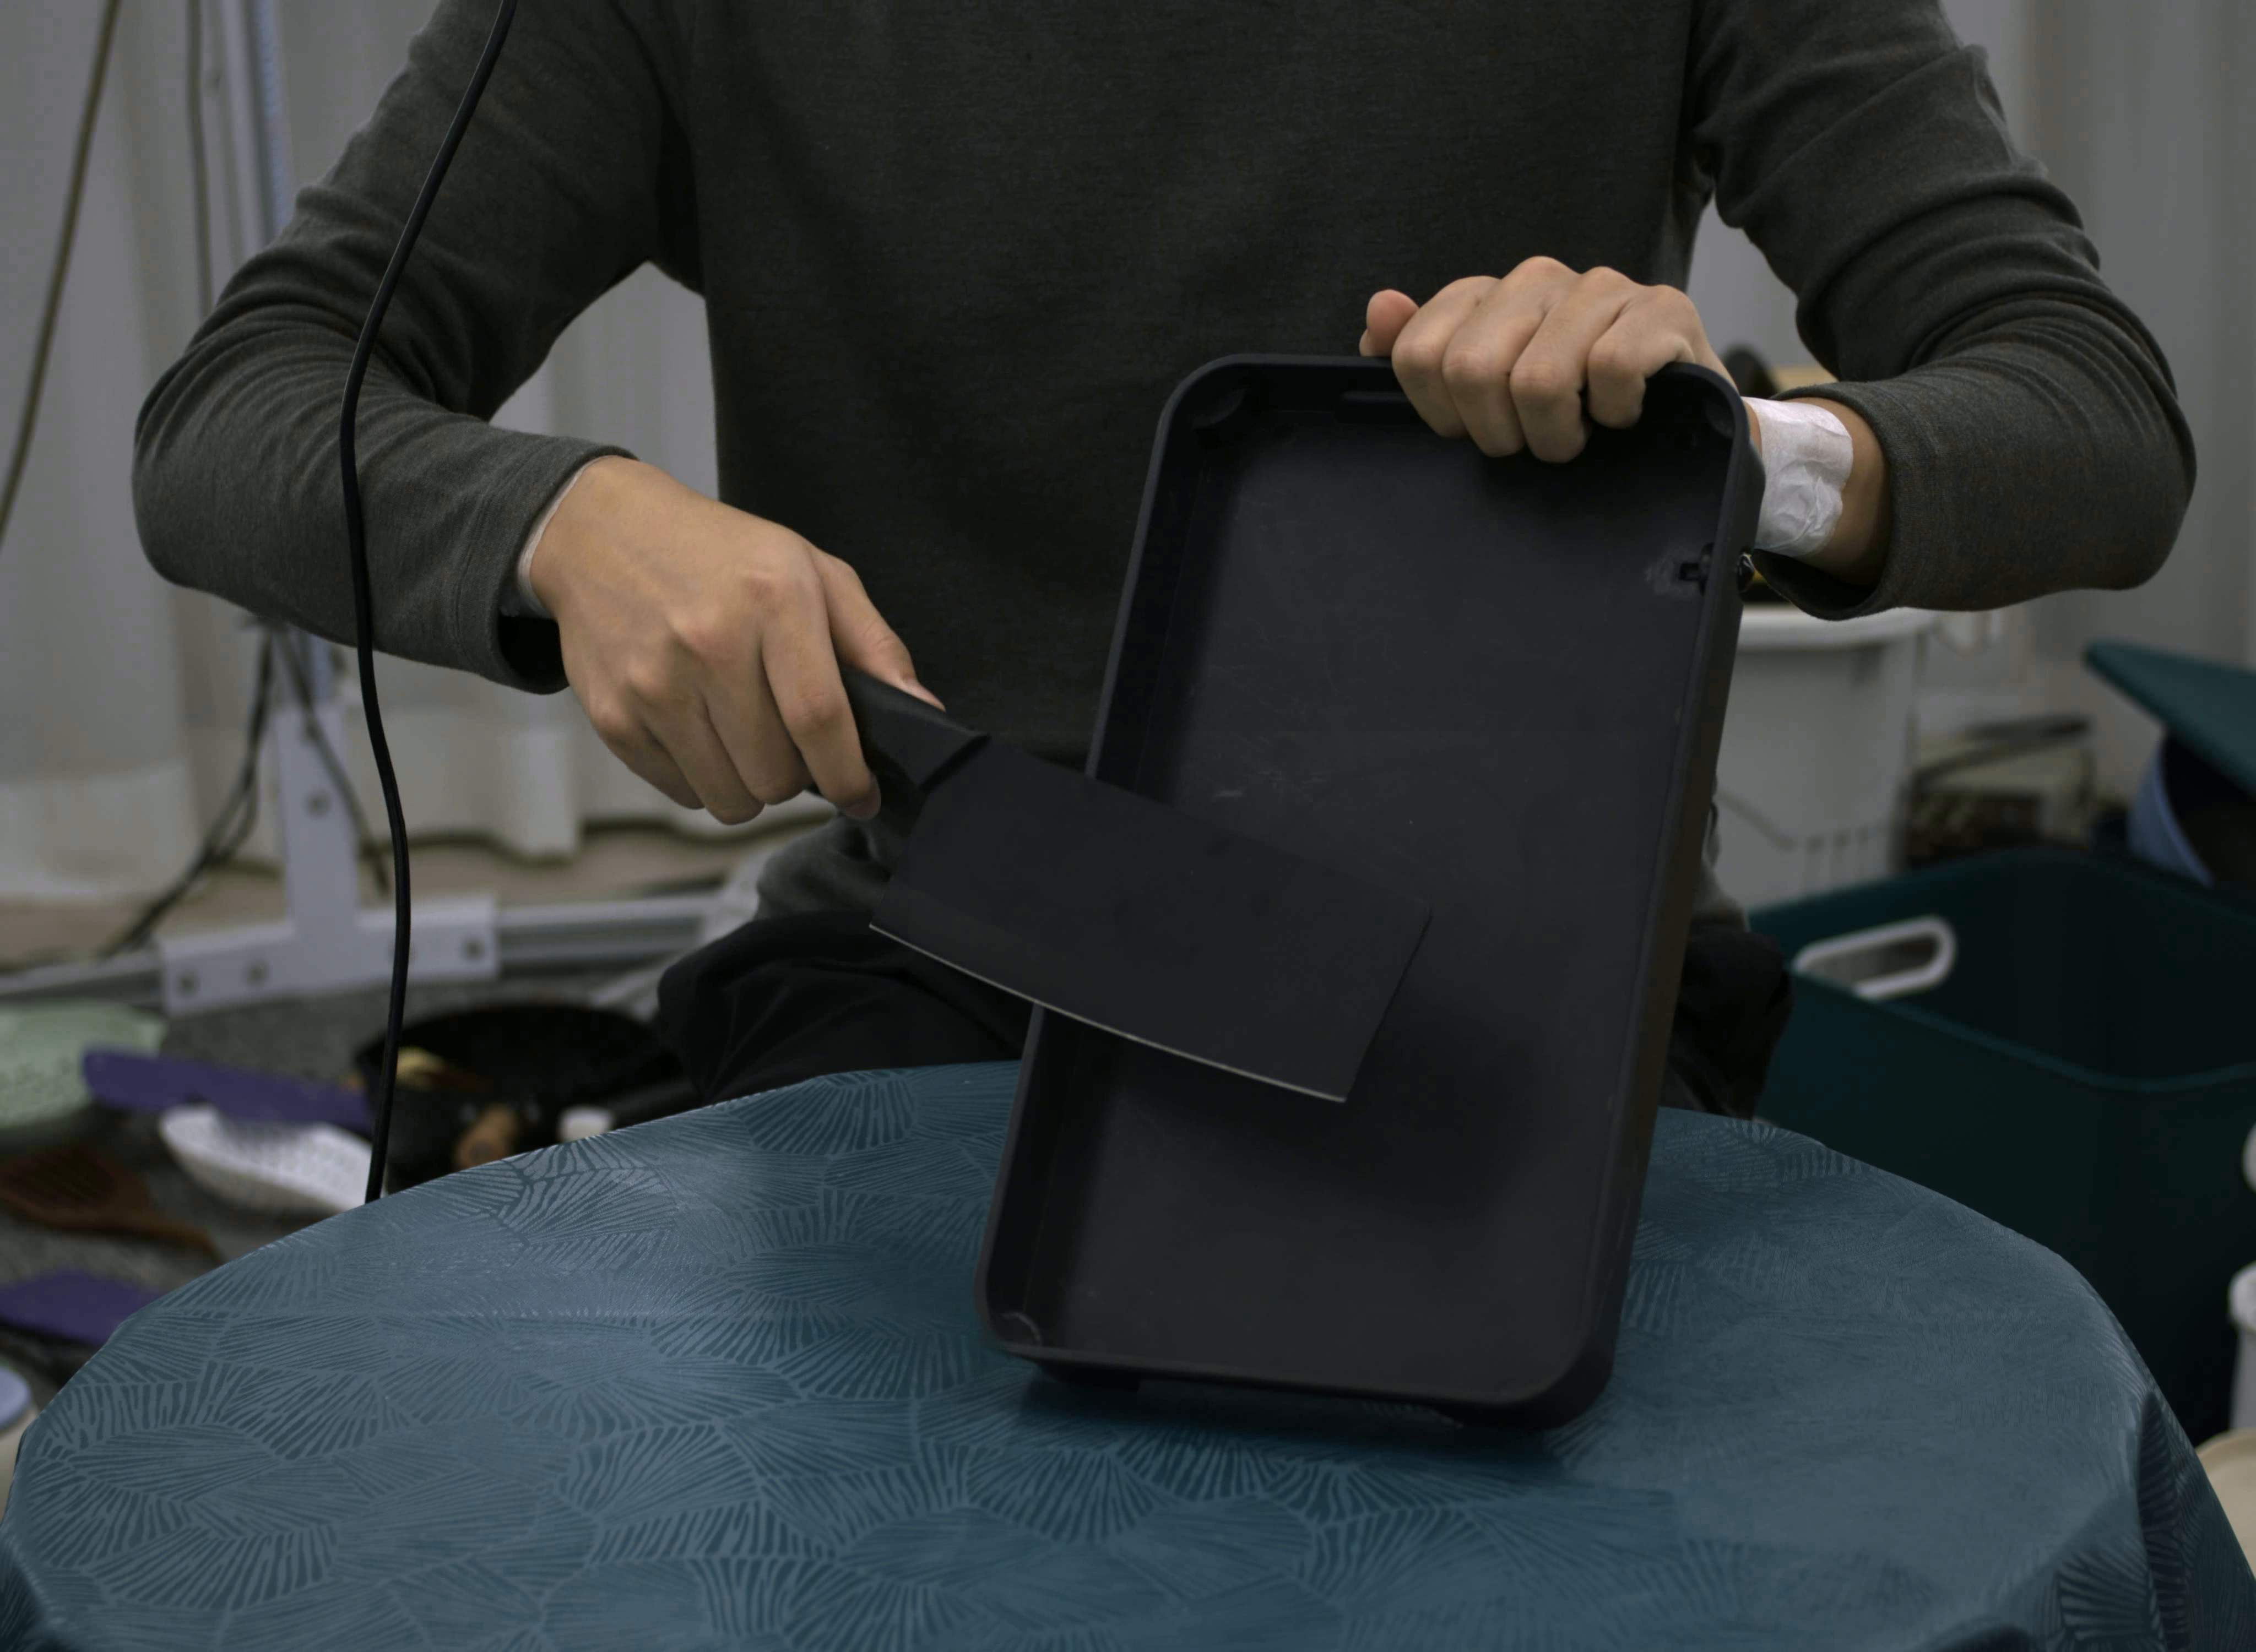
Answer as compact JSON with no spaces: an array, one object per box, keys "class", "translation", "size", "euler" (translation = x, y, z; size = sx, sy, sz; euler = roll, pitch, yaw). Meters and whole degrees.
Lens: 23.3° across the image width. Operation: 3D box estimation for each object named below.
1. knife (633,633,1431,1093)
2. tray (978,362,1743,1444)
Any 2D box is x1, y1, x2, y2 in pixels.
[{"class":"knife","translation":[-0.038,0.005,1.599],"size":[0.305,0.081,0.020],"euler":[26,-7,38]},{"class":"tray","translation":[0.070,0.017,1.566],"size":[0.184,0.321,0.036],"euler":[1,-23,21]}]
